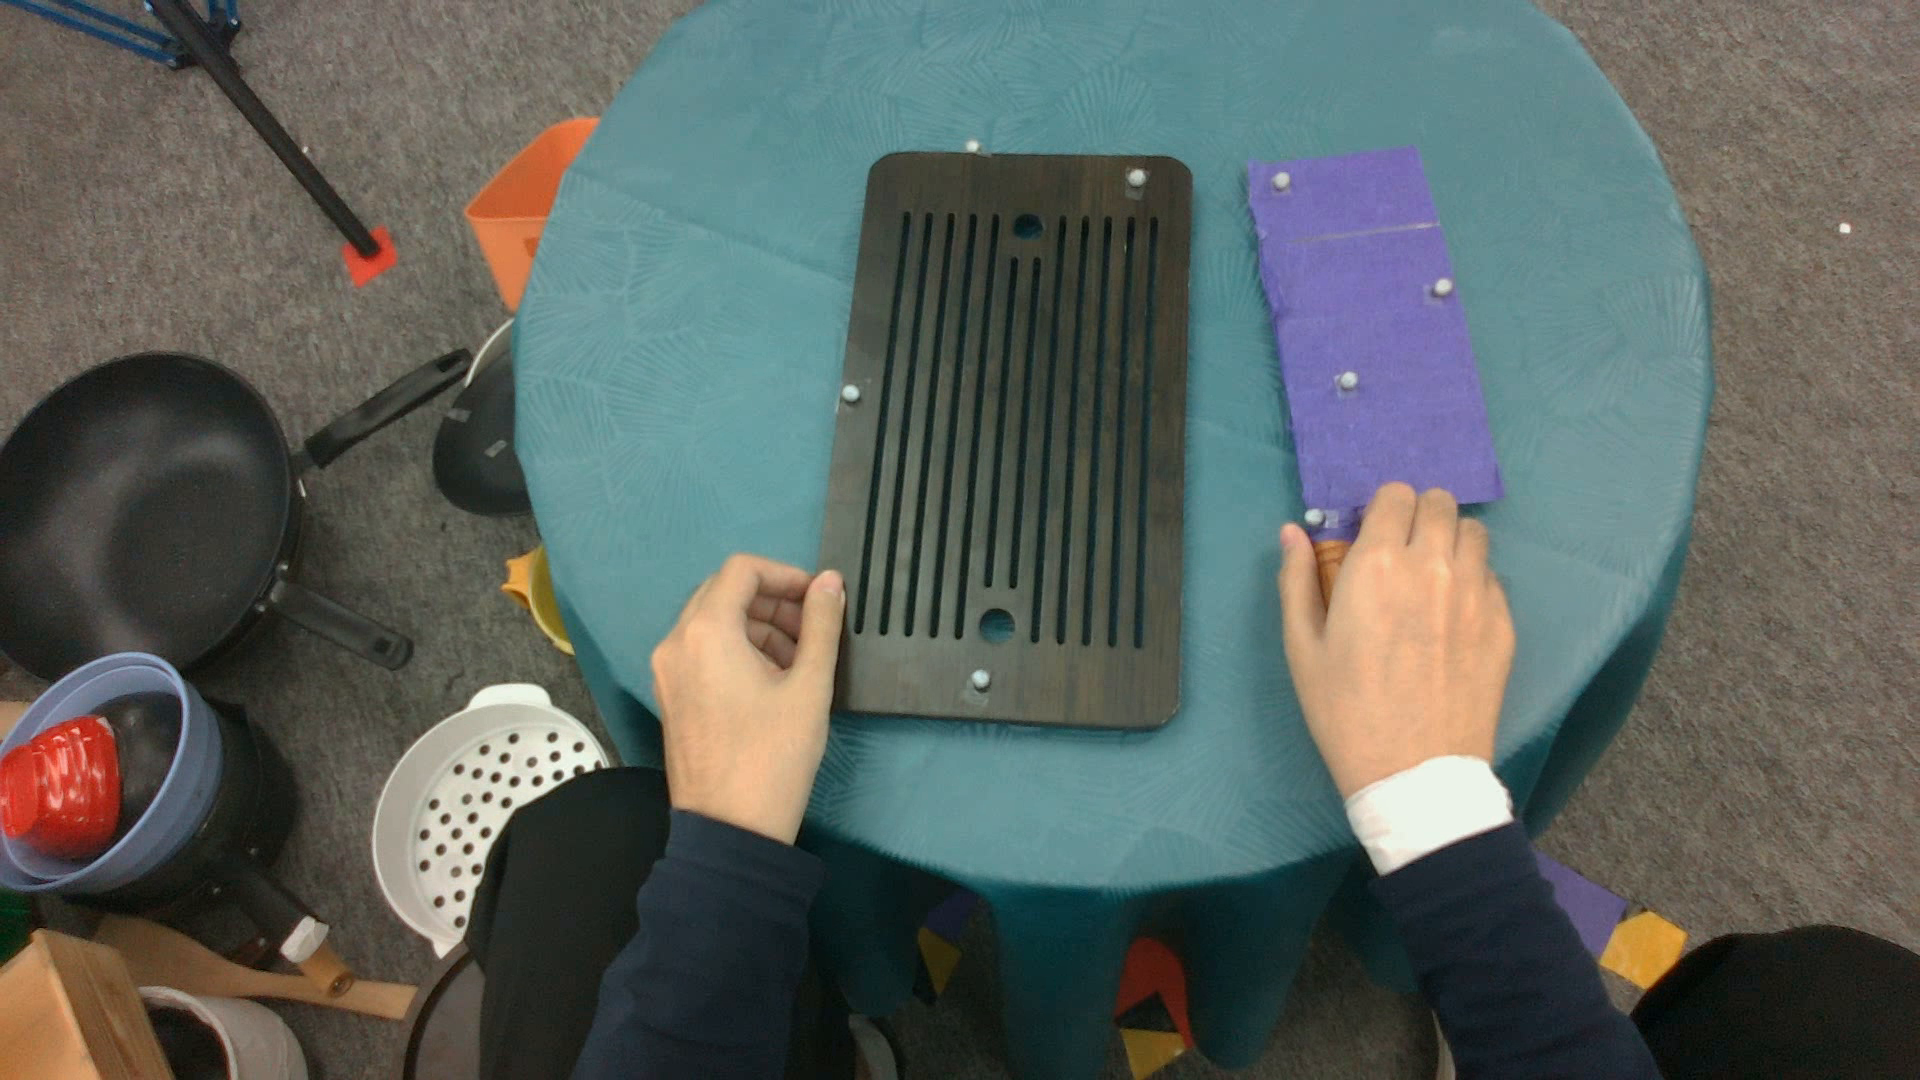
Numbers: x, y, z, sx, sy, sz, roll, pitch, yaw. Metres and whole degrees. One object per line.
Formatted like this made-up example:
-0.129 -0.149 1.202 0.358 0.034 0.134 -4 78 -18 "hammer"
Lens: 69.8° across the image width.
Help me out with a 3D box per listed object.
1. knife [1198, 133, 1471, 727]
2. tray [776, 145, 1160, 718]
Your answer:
0.188 -0.069 0.655 0.104 0.032 0.316 -6 66 2 "knife"
0.010 -0.064 0.671 0.170 0.018 0.307 2 67 5 "tray"
